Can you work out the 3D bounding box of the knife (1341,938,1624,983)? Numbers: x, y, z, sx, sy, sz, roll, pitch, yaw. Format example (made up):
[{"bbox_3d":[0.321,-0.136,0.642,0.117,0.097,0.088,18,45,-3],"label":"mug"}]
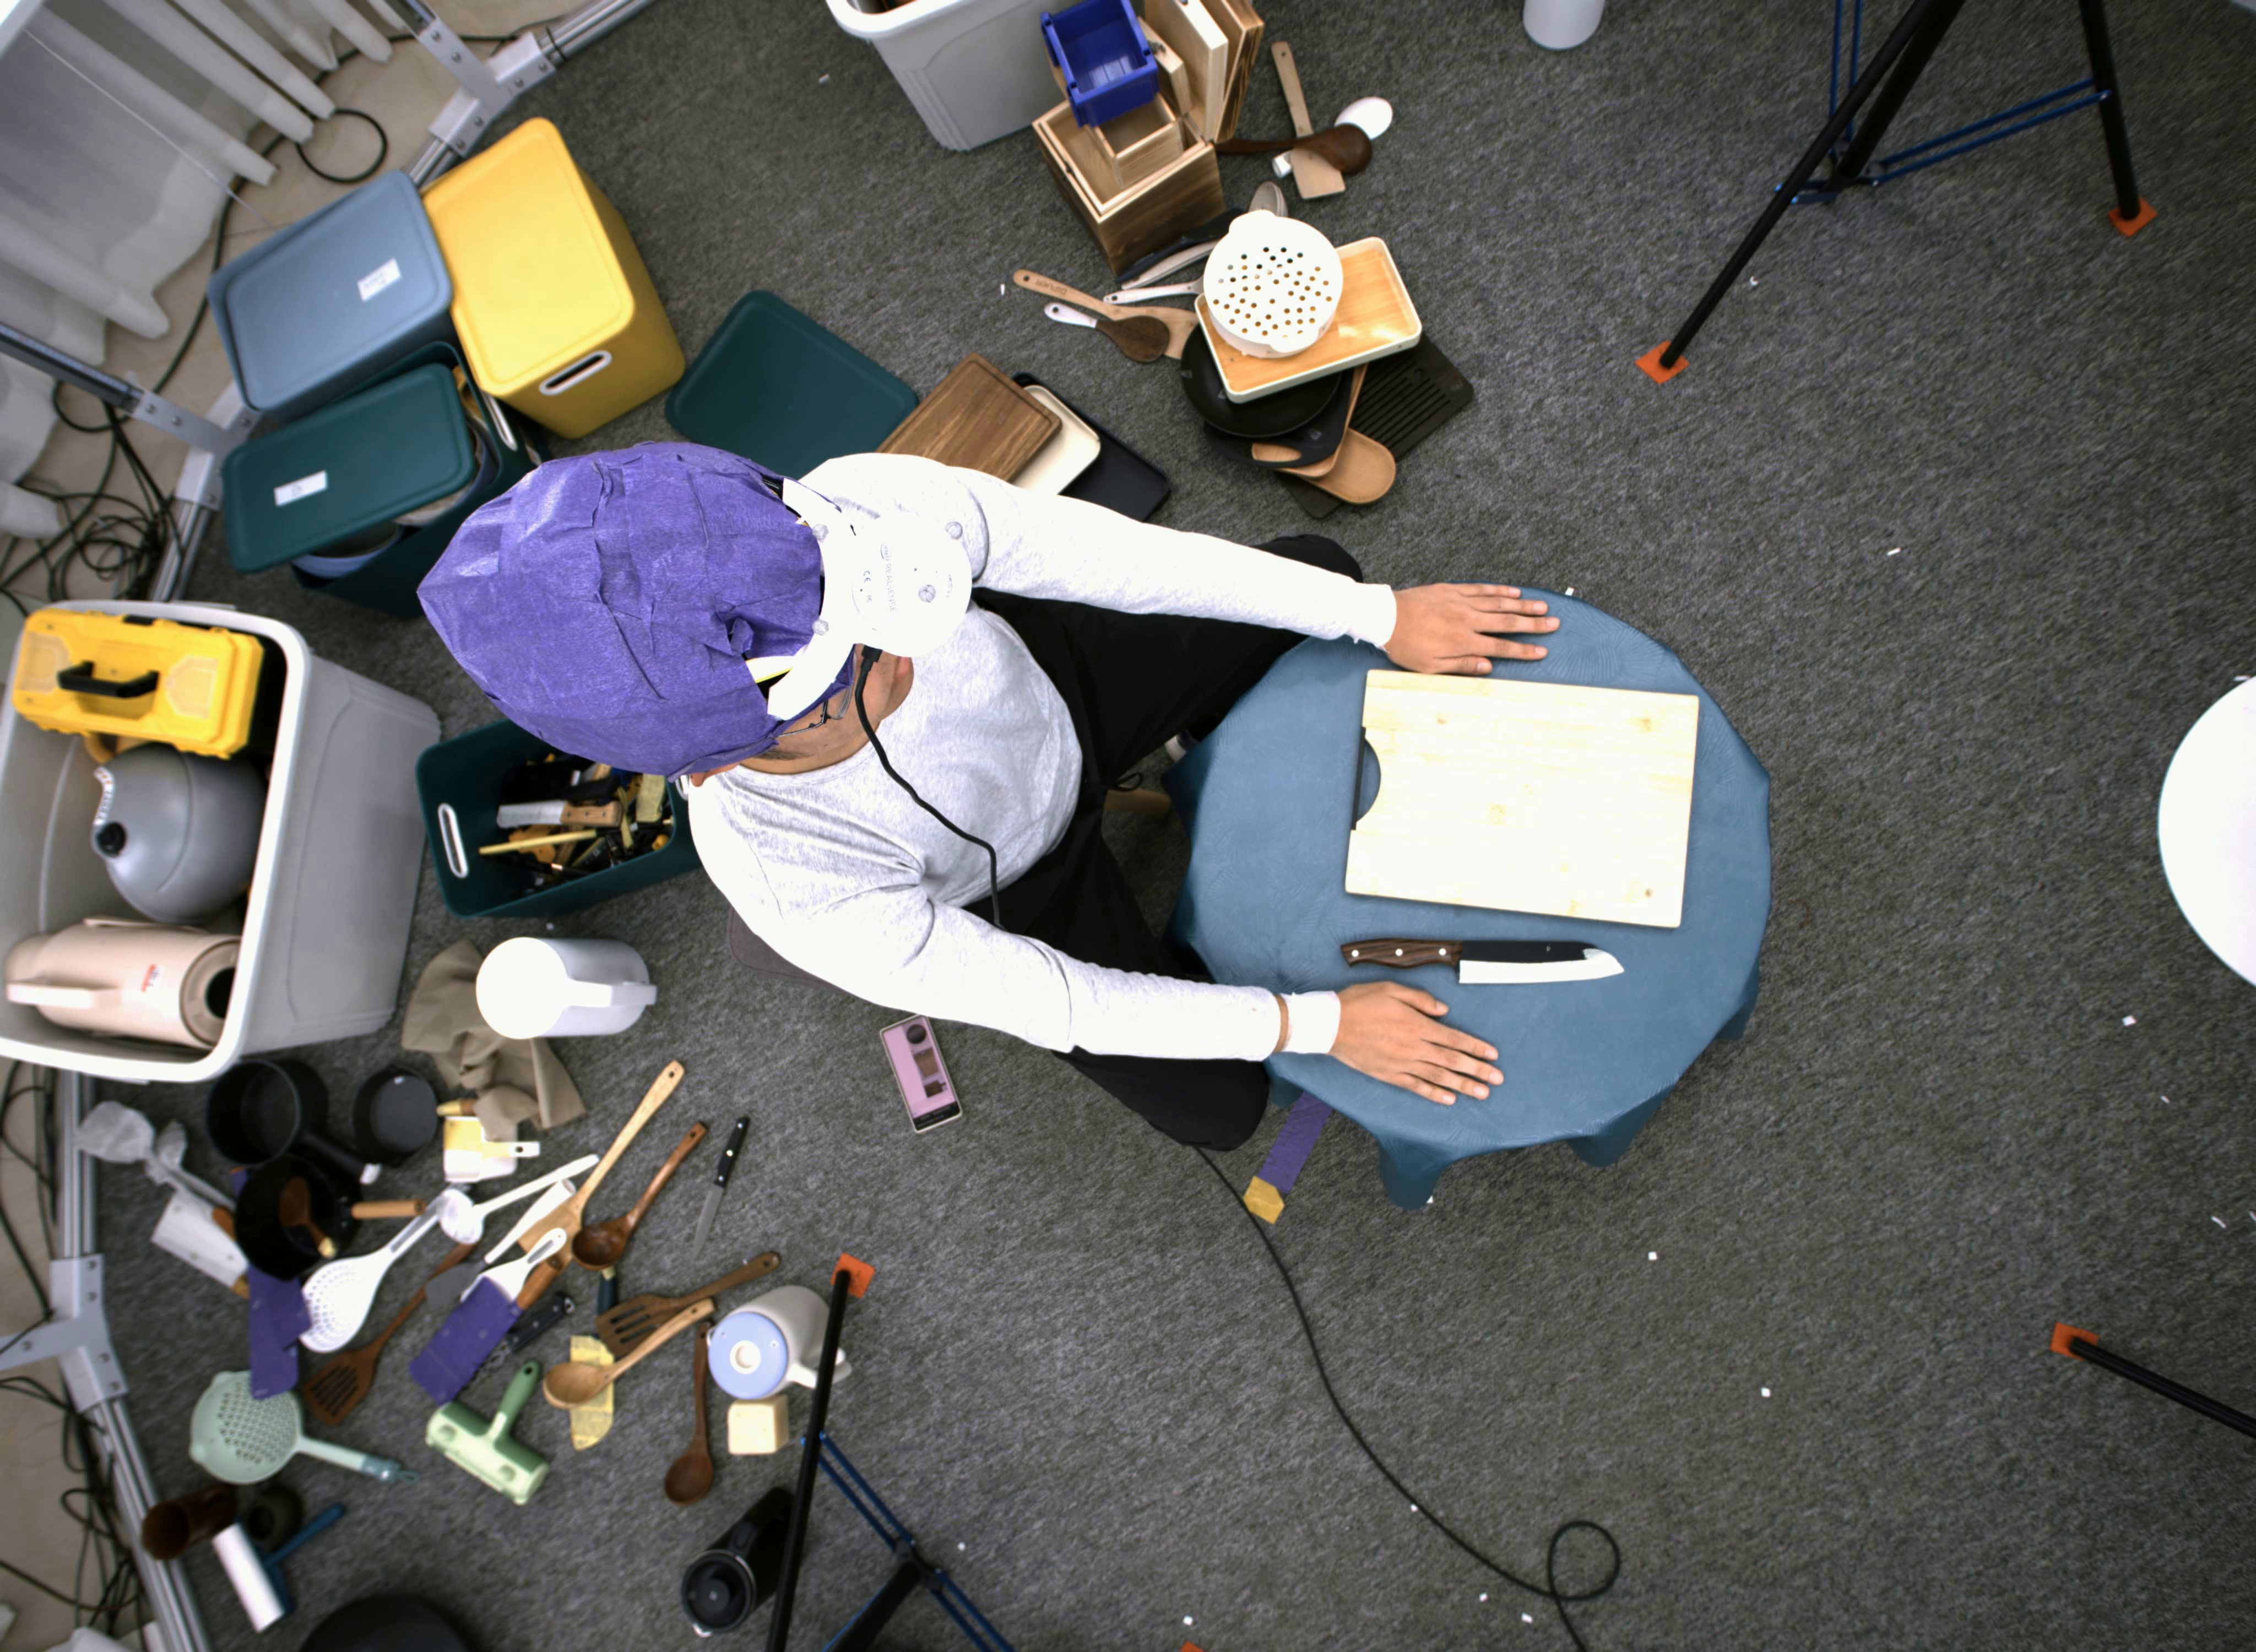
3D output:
[{"bbox_3d":[0.367,0.136,1.431,0.290,0.020,0.050,2,92,8],"label":"knife"}]

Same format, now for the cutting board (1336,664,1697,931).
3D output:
[{"bbox_3d":[0.403,-0.035,1.433,0.350,0.023,0.250,5,87,11],"label":"cutting board"}]
